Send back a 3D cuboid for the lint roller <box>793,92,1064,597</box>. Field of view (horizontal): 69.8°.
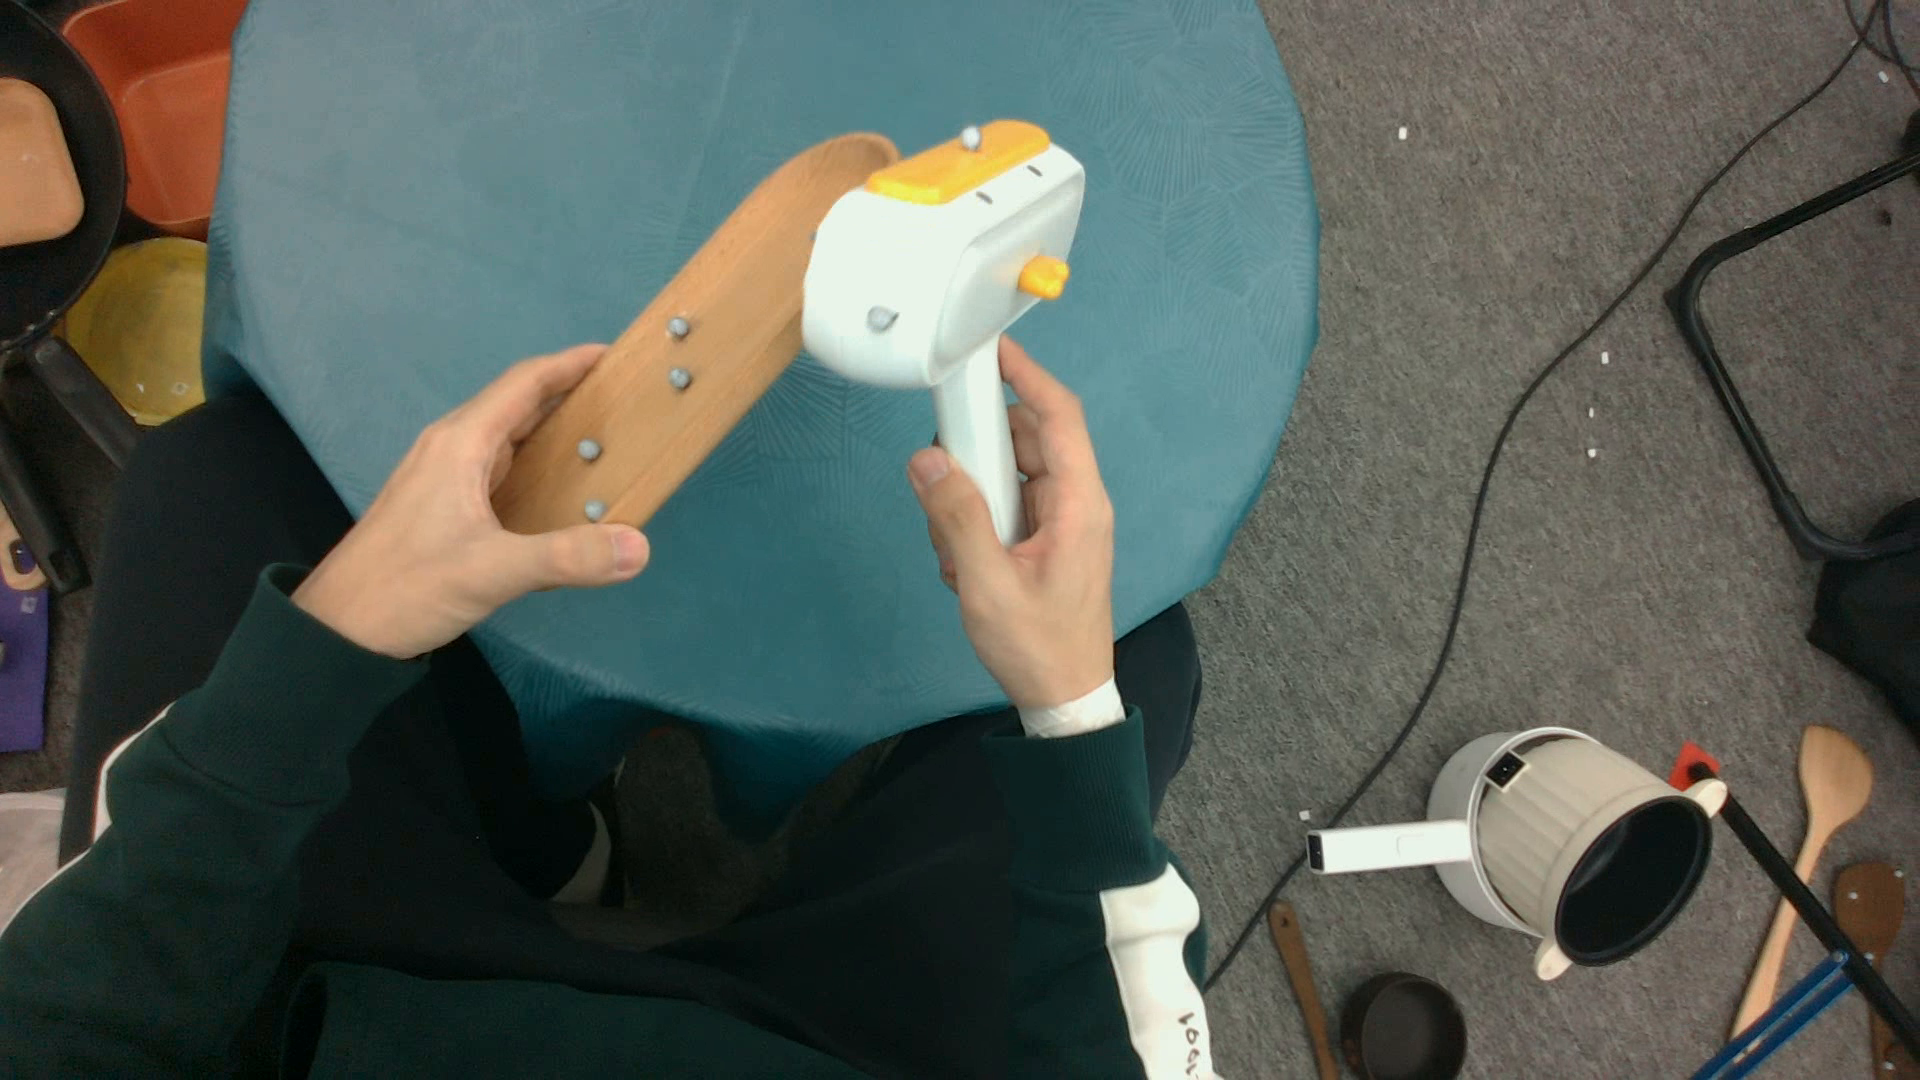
[{"bbox_3d":[-0.003,-0.066,0.545,0.074,0.194,0.191,9,120,11],"label":"lint roller"}]

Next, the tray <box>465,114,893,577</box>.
[{"bbox_3d":[-0.111,-0.080,0.546,0.231,0.101,0.020,-50,132,-8],"label":"tray"}]
